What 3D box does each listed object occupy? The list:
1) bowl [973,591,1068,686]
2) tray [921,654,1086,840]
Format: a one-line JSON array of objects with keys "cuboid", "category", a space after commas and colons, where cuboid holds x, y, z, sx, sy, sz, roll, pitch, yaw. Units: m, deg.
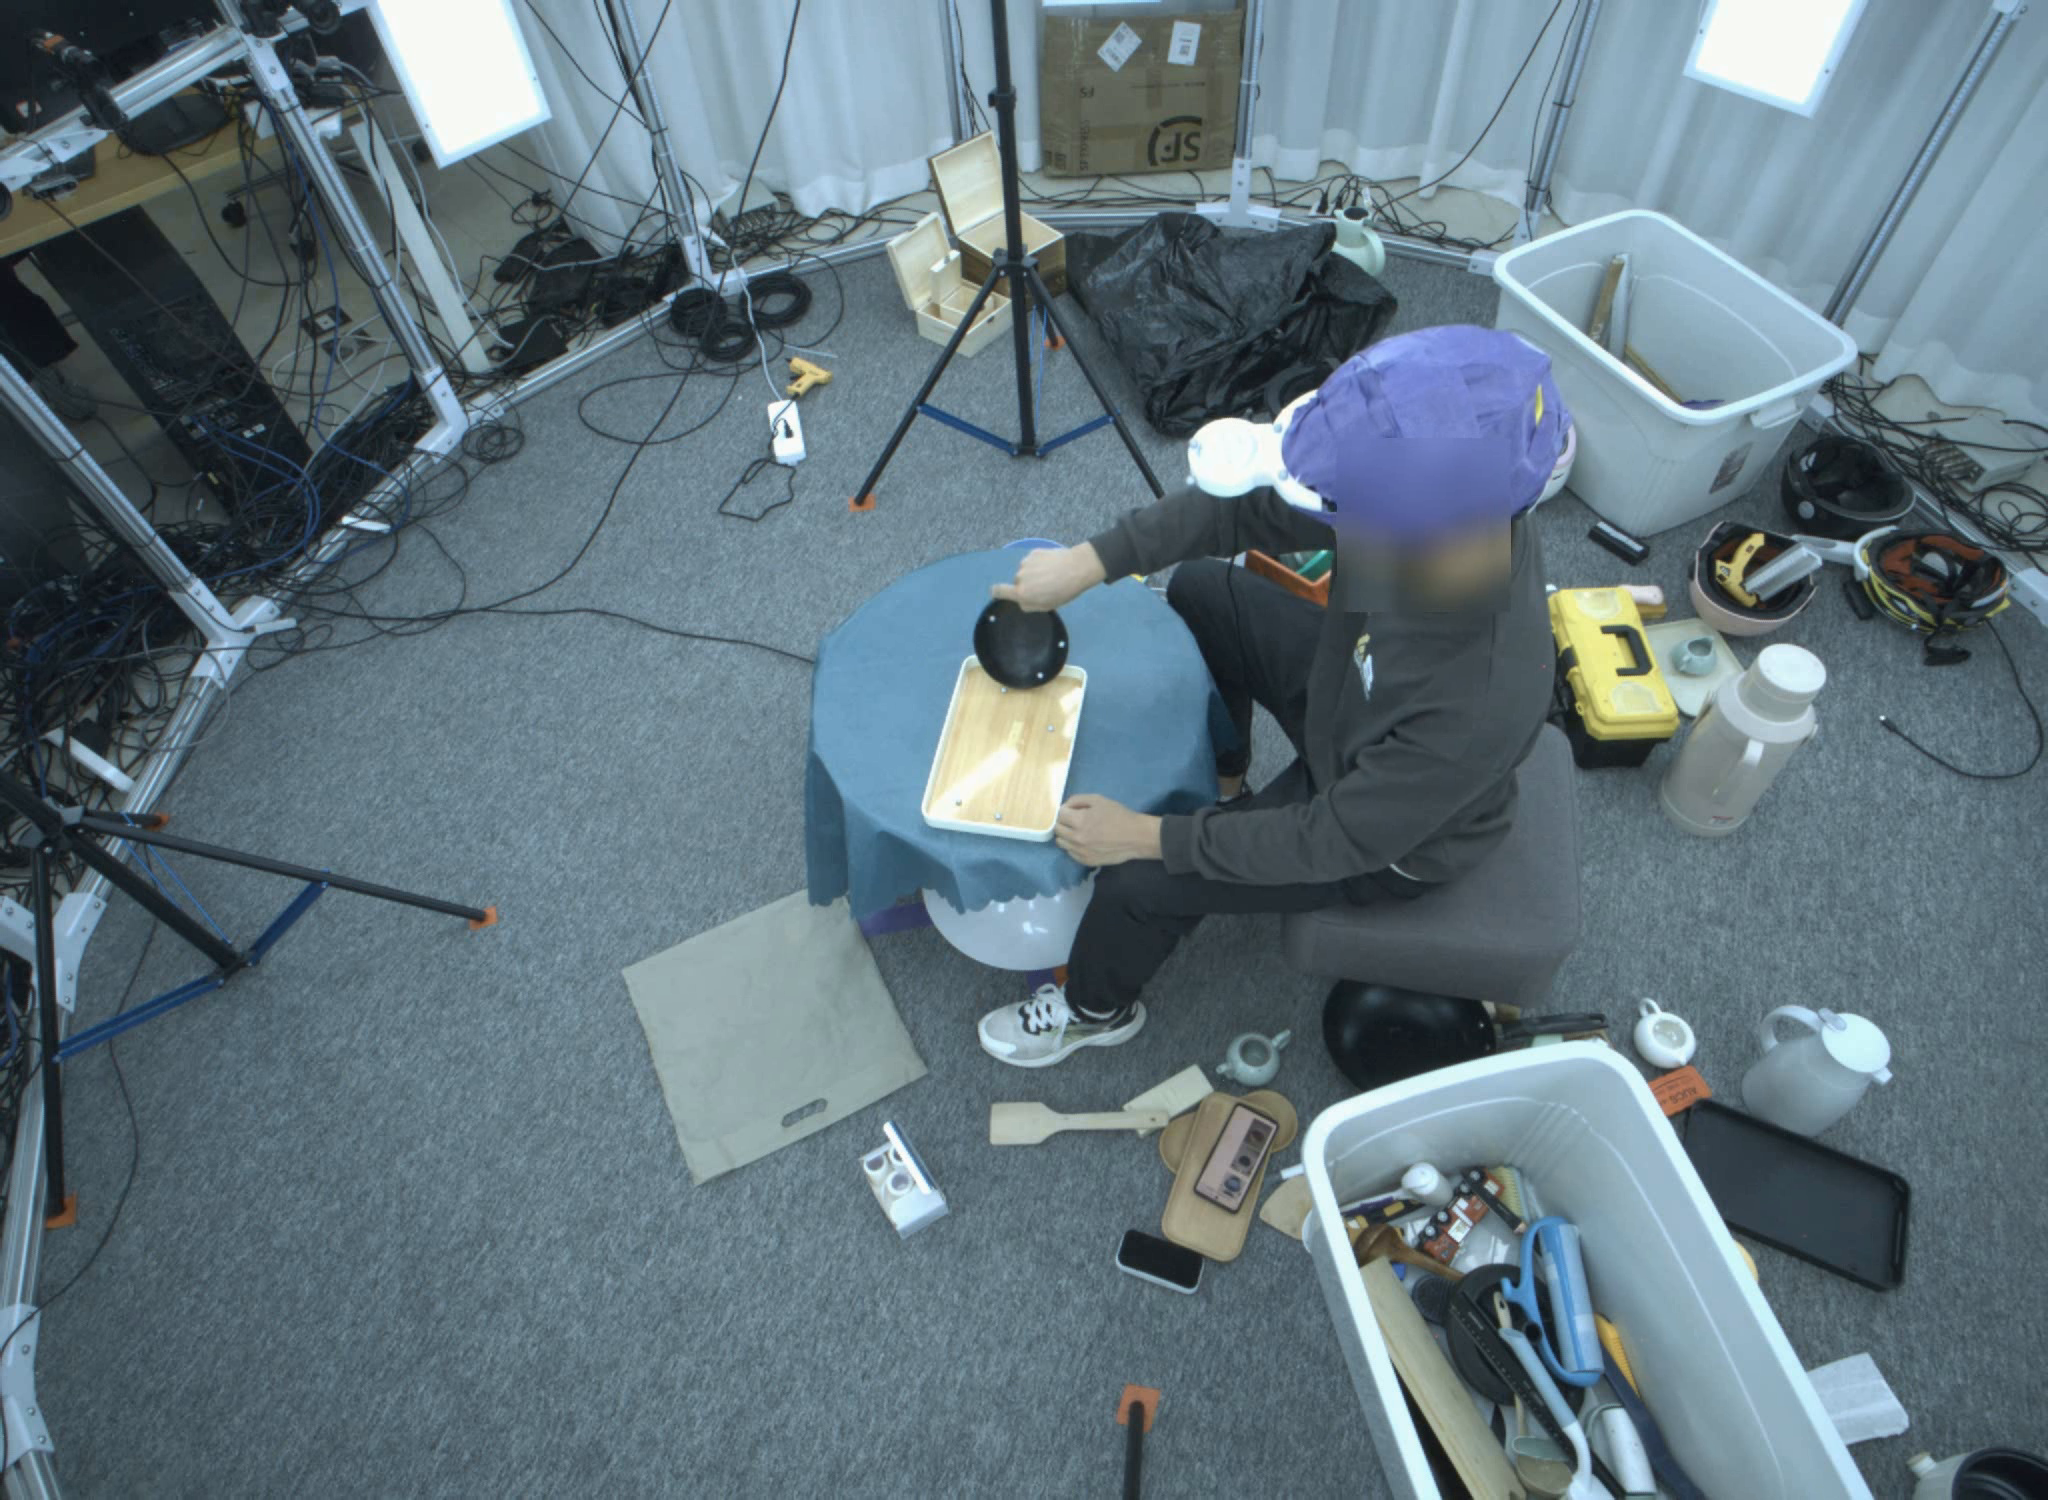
[{"cuboid": [-0.003, -0.170, 1.792, 0.137, 0.172, 0.066, -3, 41, 6], "category": "bowl"}, {"cuboid": [-0.025, -0.010, 1.777, 0.190, 0.028, 0.298, 8, 55, 7], "category": "tray"}]
